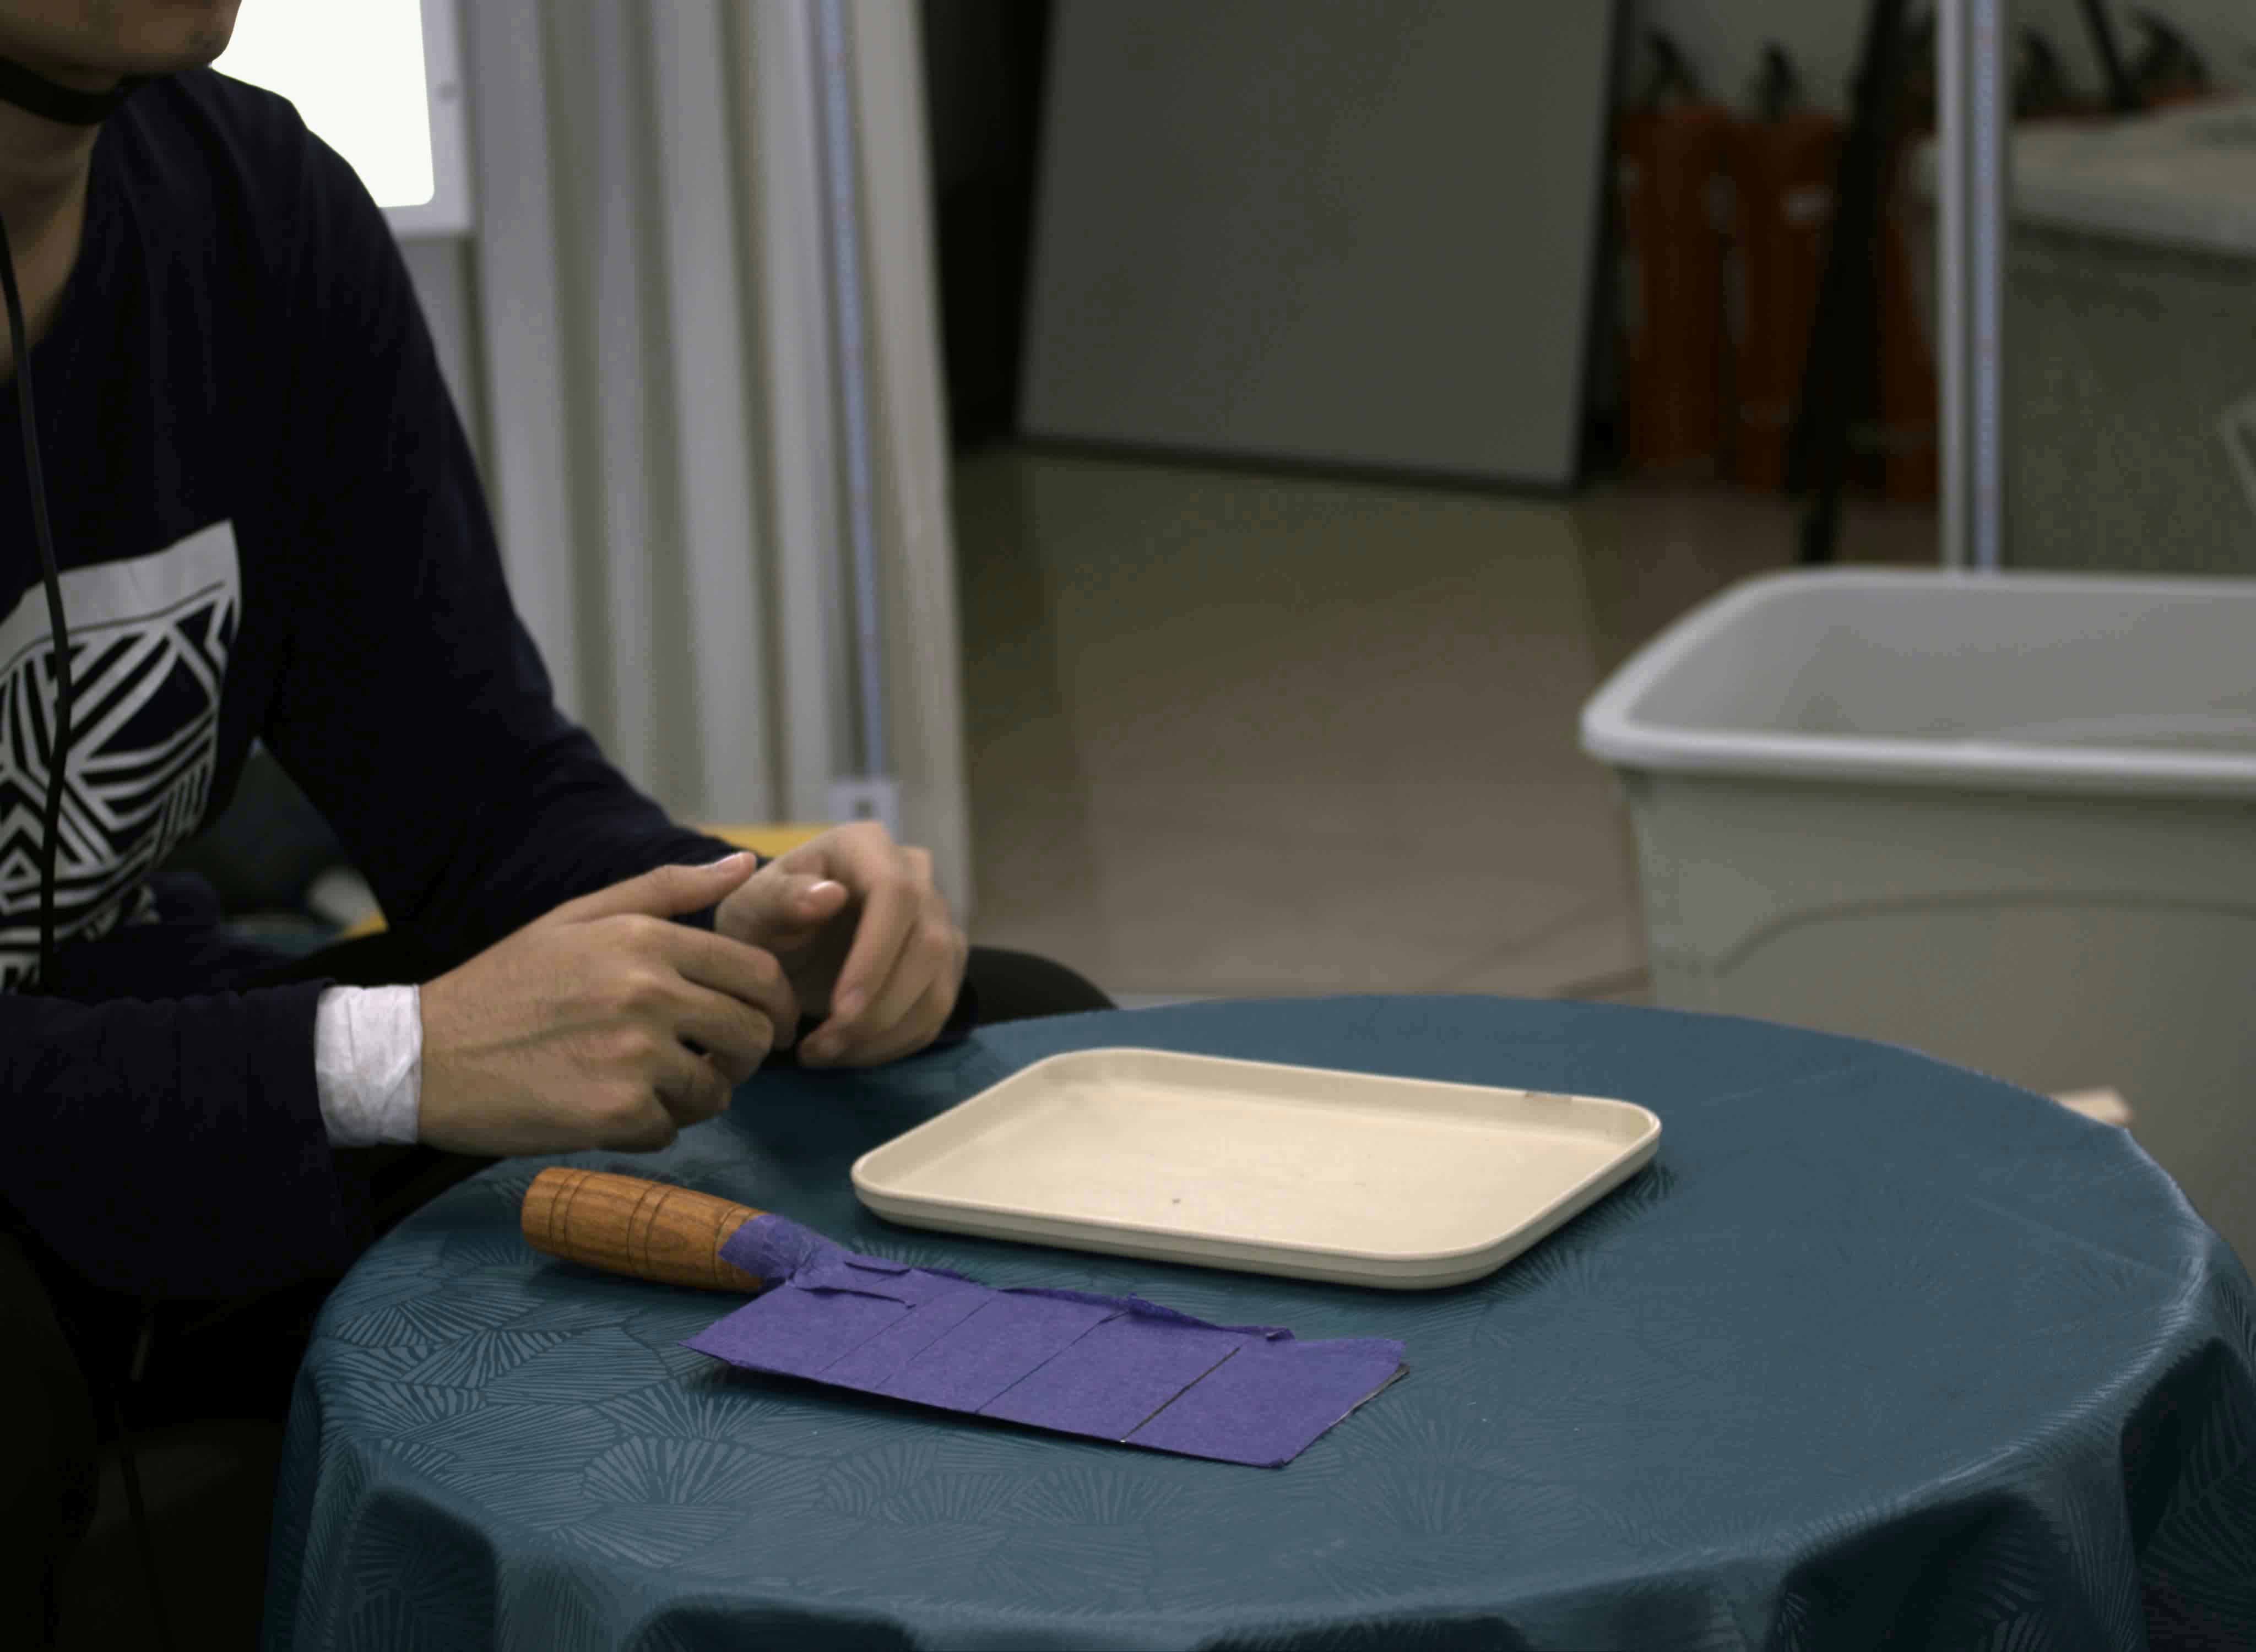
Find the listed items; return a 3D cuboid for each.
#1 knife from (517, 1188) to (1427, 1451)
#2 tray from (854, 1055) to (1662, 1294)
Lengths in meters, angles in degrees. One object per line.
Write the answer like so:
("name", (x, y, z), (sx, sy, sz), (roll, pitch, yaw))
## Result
("knife", (-0.068, 0.148, 1.628), (0.316, 0.032, 0.102), (4, 16, 31))
("tray", (0.043, 0.113, 1.760), (0.241, 0.017, 0.168), (4, 16, 31))
